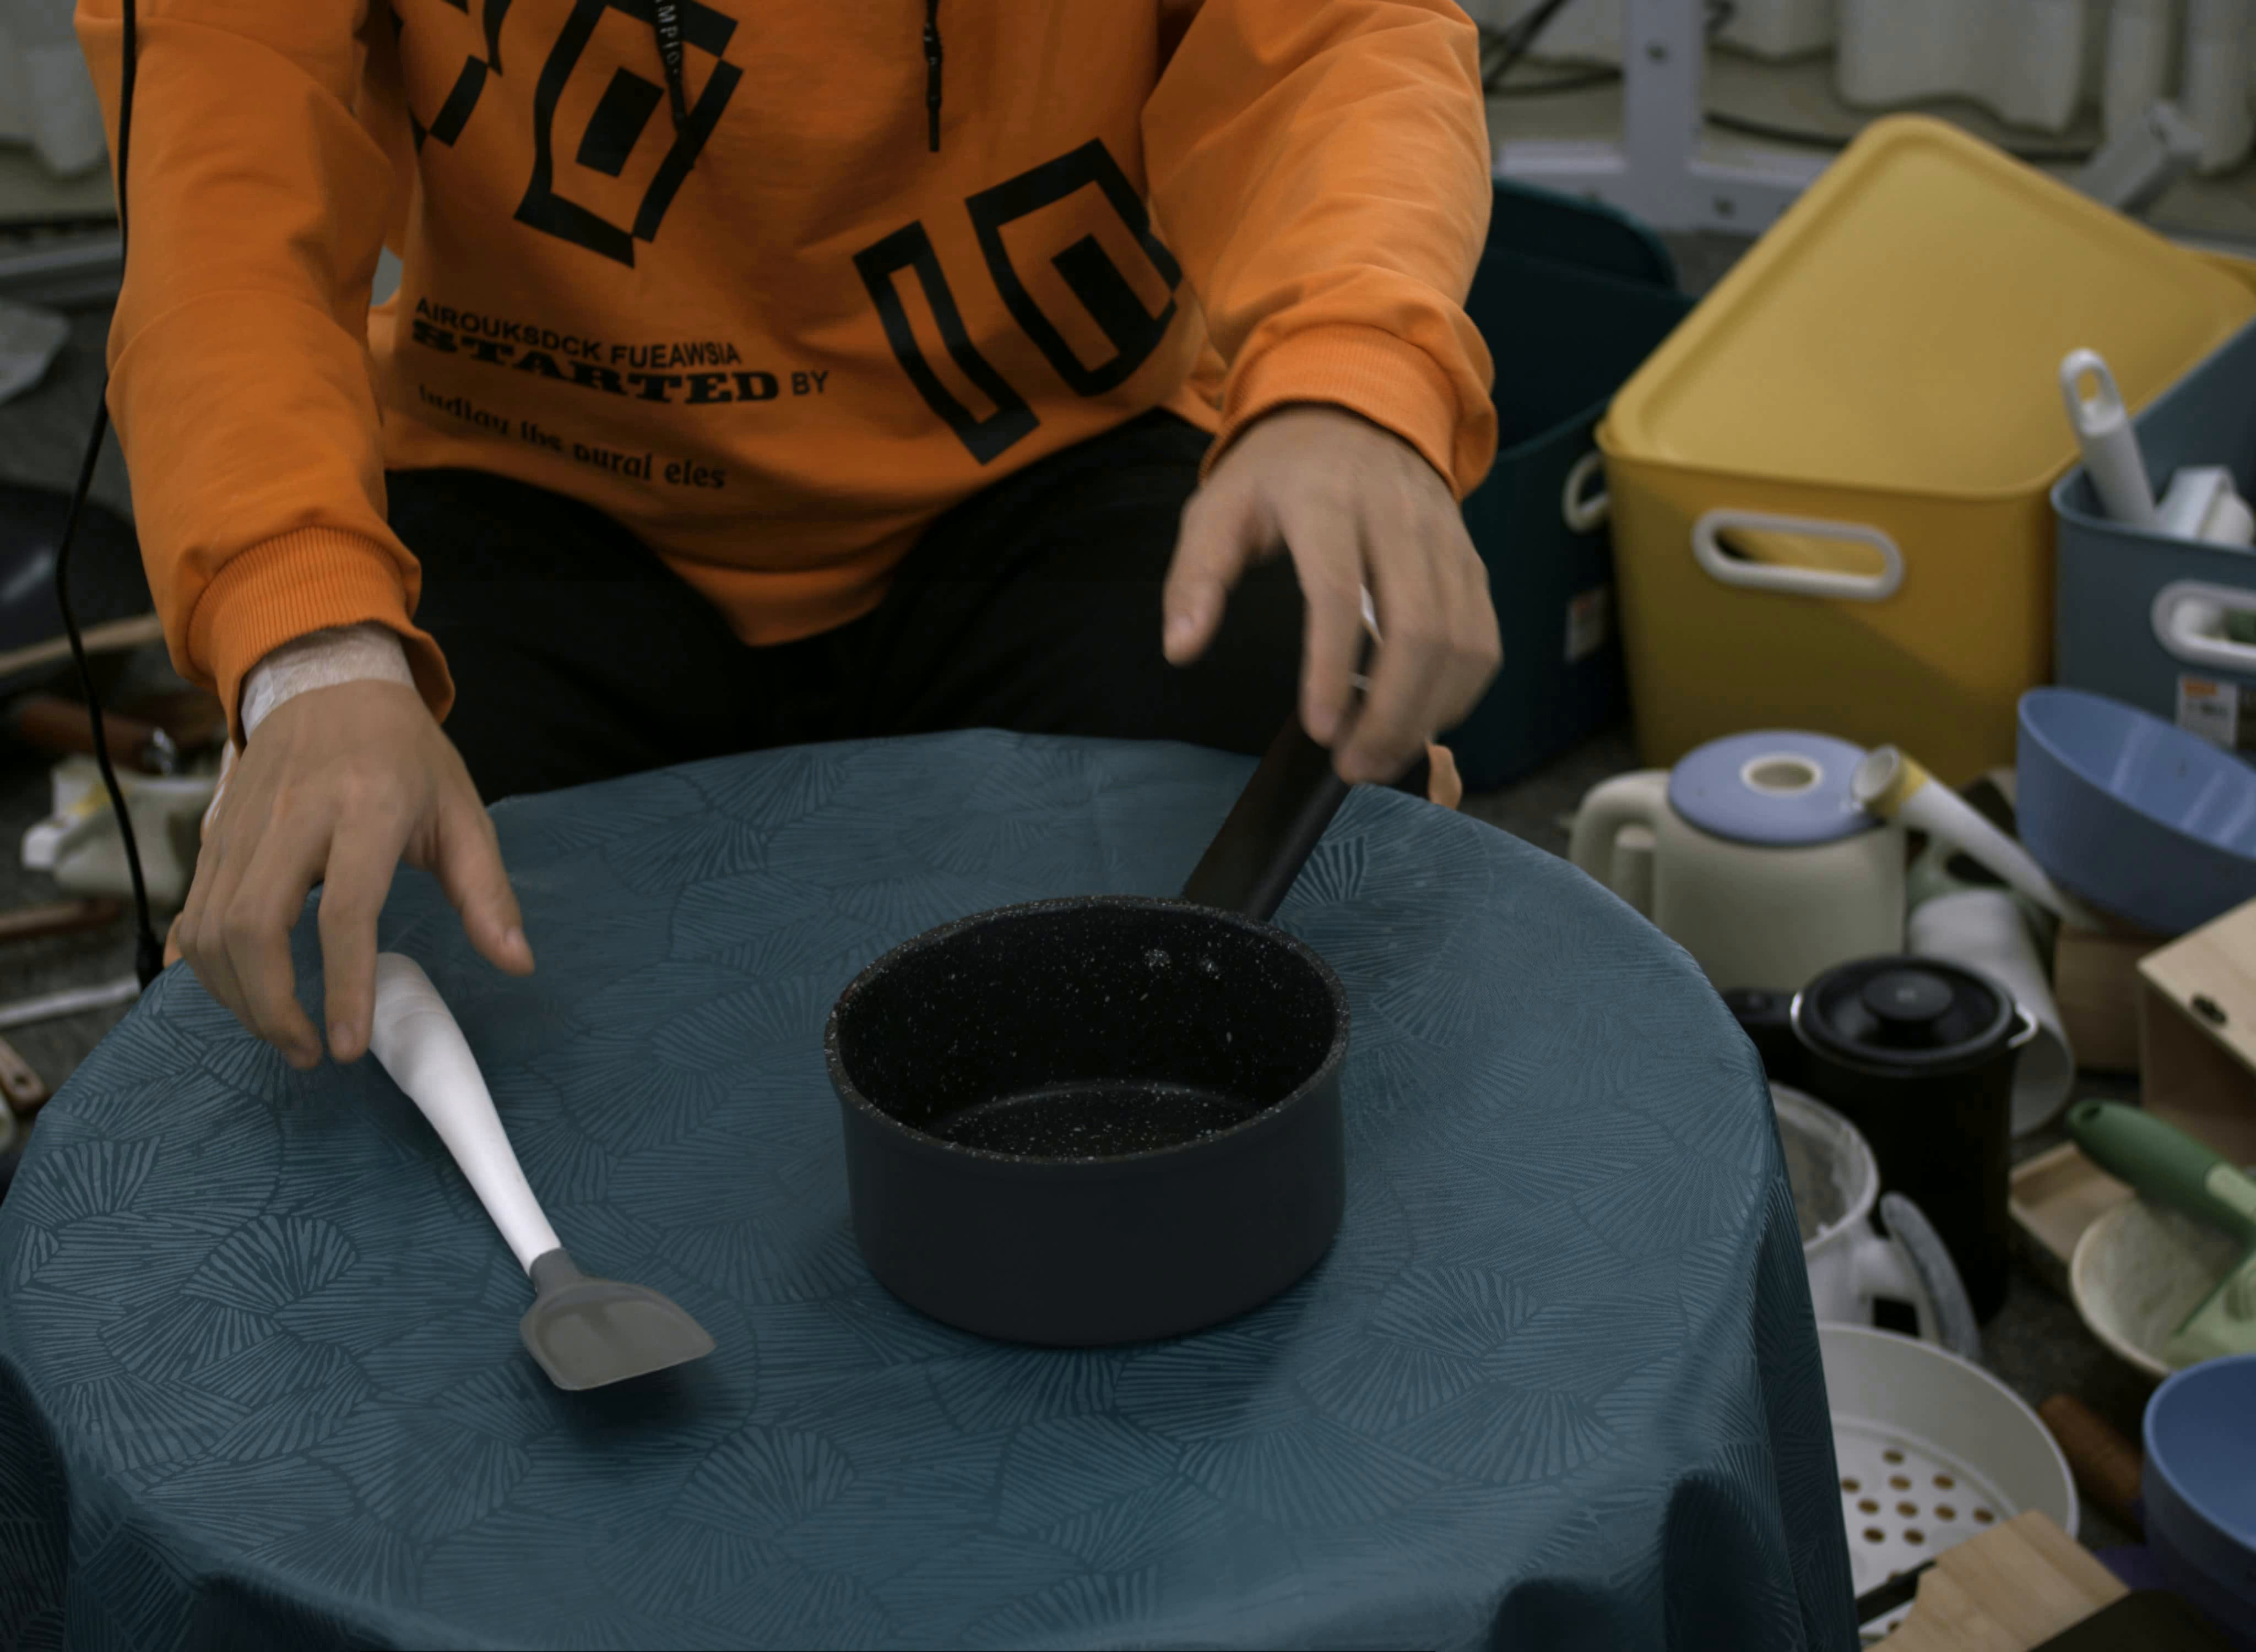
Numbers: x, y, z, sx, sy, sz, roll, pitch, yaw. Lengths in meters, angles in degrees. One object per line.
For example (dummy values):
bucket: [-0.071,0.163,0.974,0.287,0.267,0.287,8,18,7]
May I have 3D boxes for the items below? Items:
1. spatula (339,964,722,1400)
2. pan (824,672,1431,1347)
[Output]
spatula: [-0.204,0.121,1.851,0.059,0.032,0.289,-10,28,-21]
pan: [0.023,0.057,1.893,0.171,0.085,0.334,11,32,23]
